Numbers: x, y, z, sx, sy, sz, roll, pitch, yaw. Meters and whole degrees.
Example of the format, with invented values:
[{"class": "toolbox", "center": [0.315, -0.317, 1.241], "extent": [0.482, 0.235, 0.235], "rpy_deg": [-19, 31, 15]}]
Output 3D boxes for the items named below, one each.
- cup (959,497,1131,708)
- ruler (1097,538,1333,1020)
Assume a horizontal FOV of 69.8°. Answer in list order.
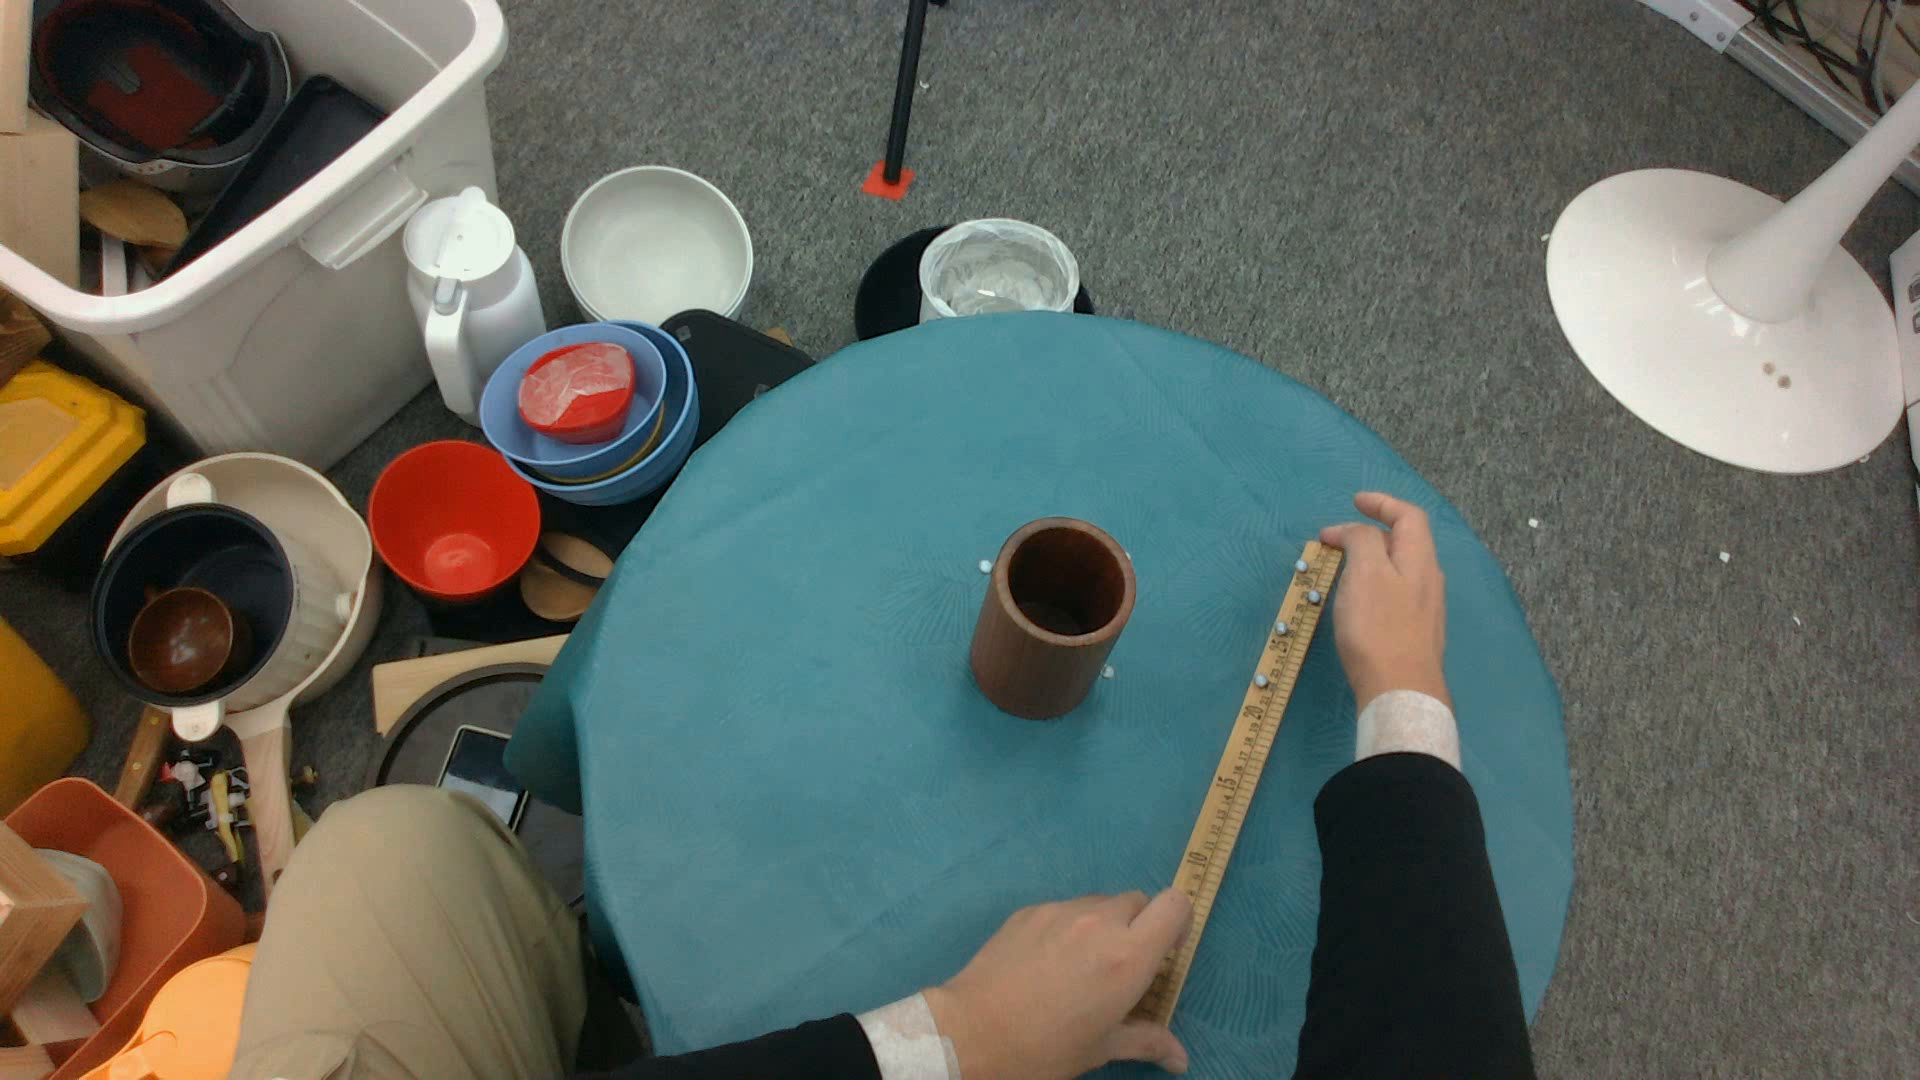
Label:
[{"class": "cup", "center": [0.046, 0.038, 0.791], "extent": [0.088, 0.118, 0.088], "rpy_deg": [3, 62, -6]}, {"class": "ruler", "center": [0.158, 0.126, 0.817], "extent": [0.027, 0.022, 0.333], "rpy_deg": [12, 57, 31]}]
